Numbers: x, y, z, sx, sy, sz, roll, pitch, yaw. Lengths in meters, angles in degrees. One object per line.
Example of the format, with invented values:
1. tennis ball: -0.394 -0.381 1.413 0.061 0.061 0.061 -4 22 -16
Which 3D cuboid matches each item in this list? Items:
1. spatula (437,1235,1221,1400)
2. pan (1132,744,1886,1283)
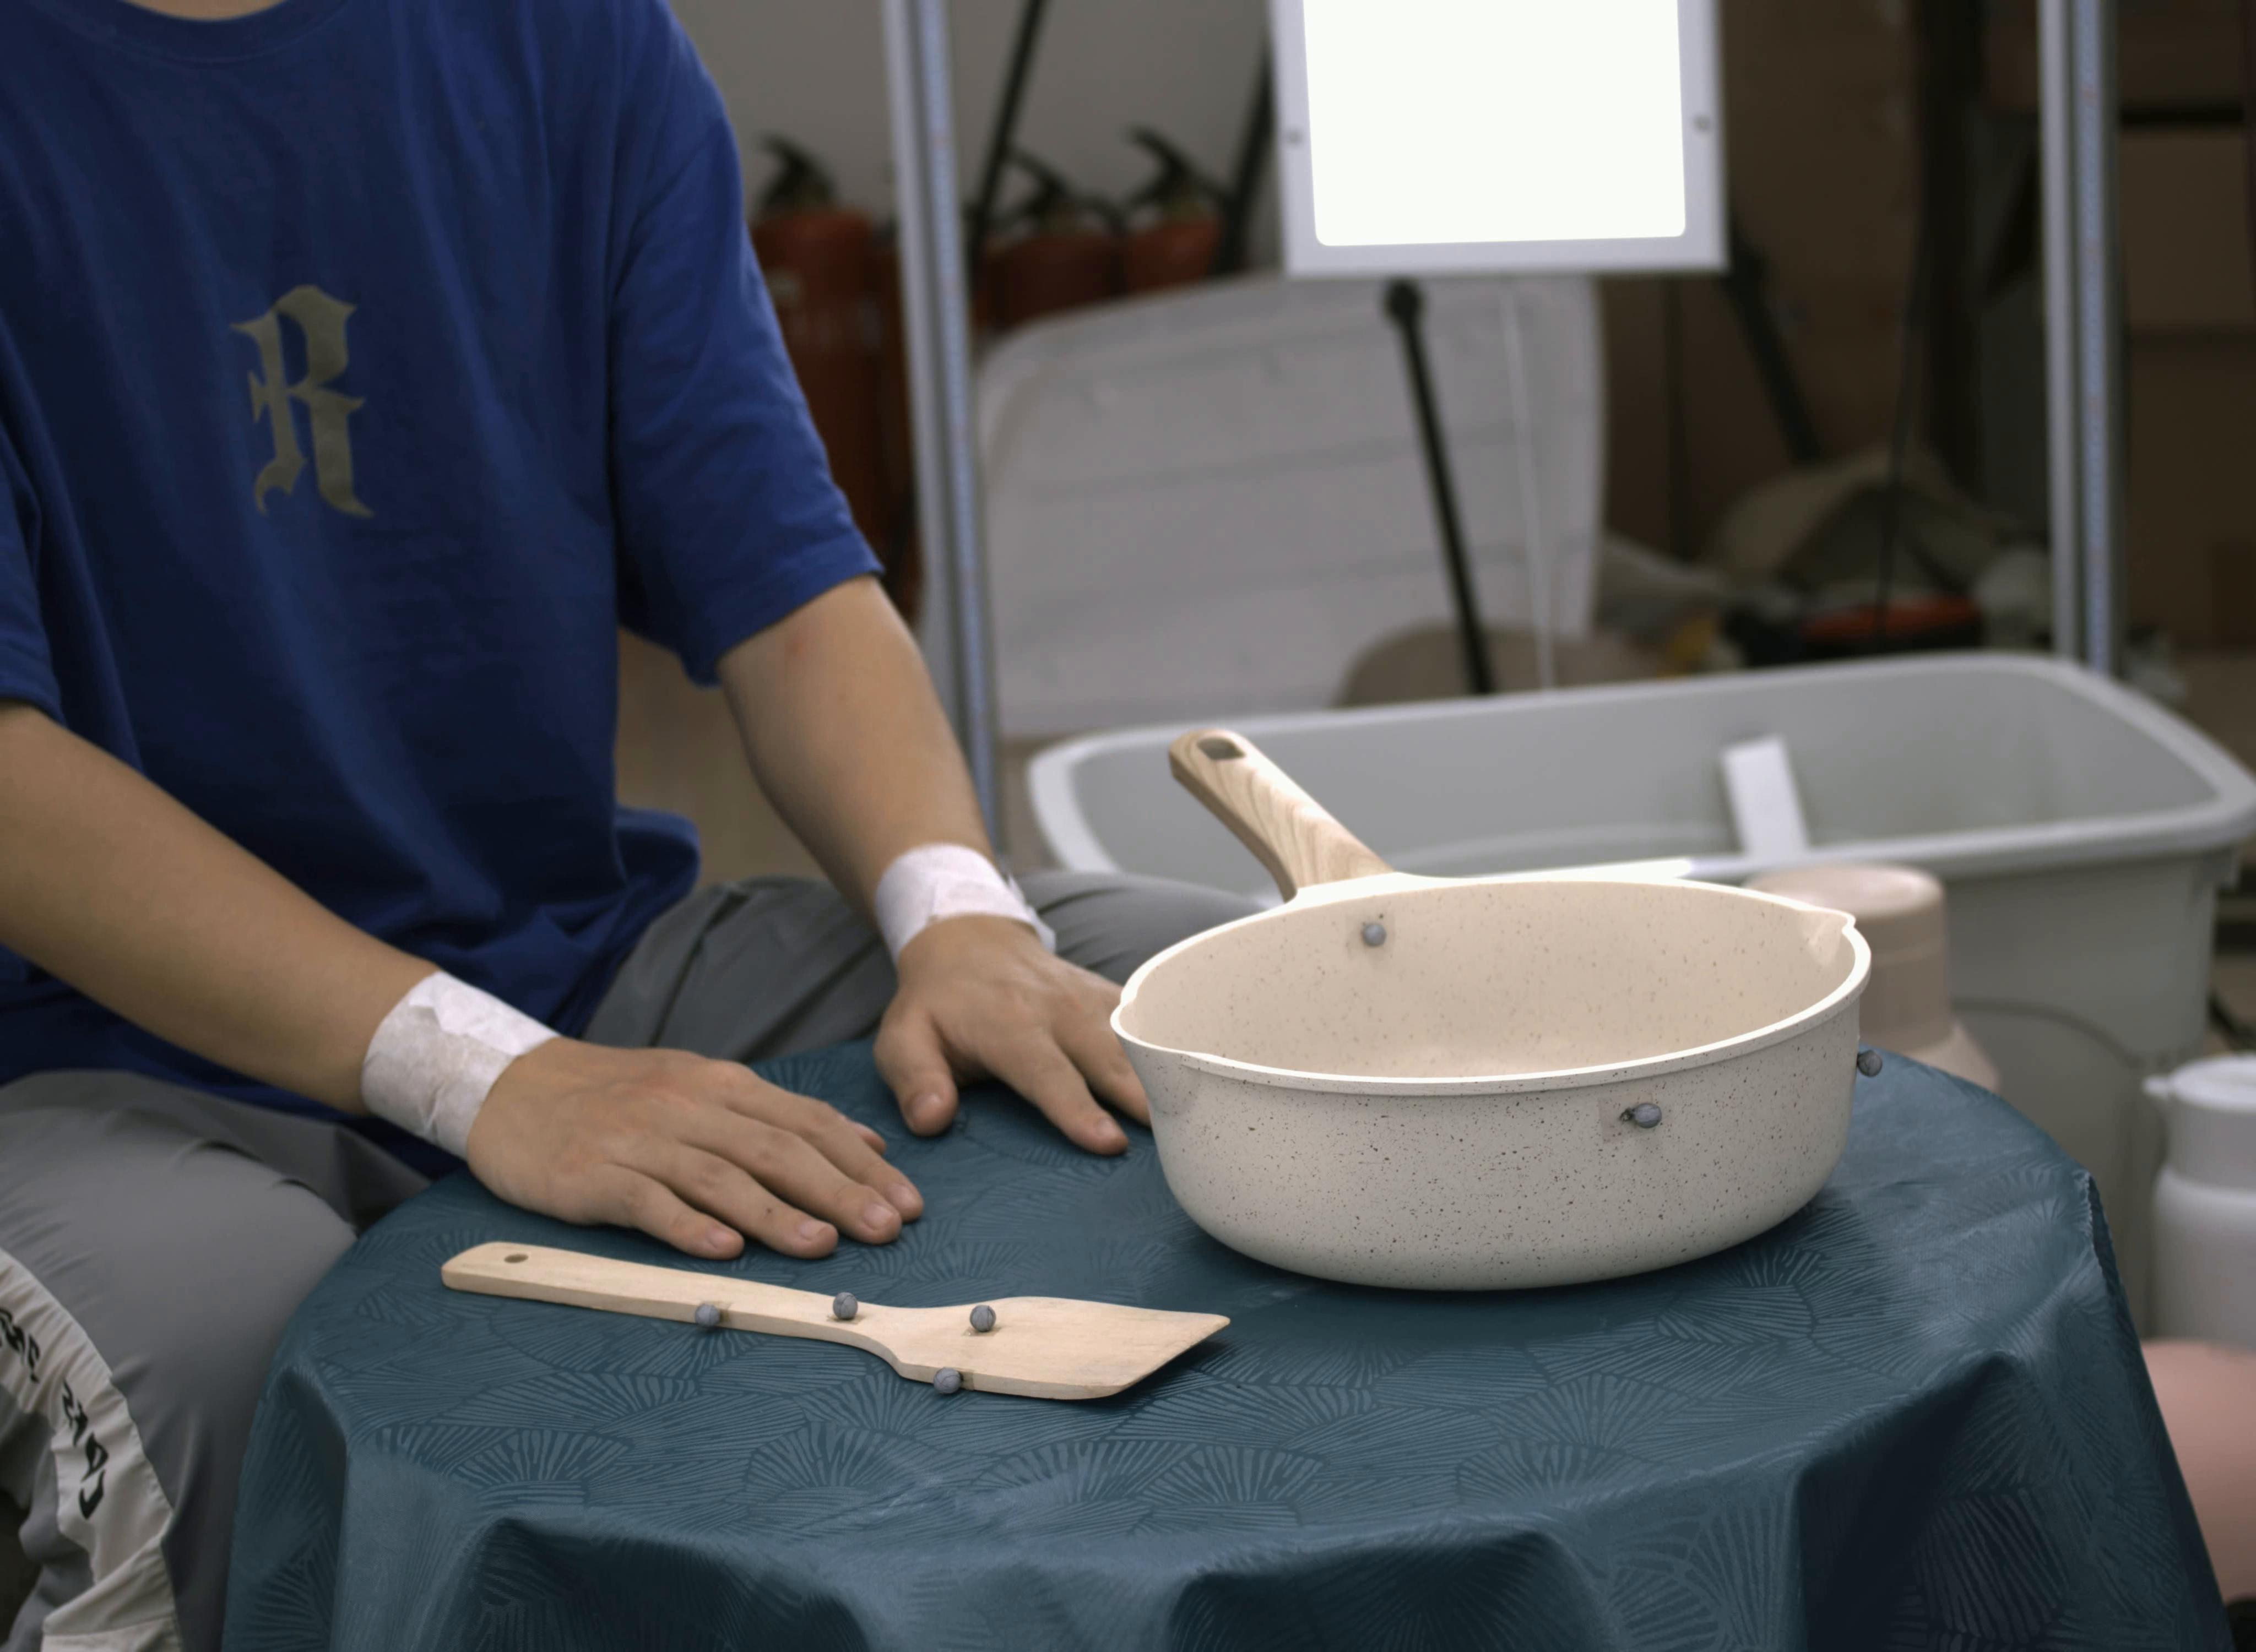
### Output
1. spatula: -0.108 0.157 1.793 0.299 0.011 0.070 5 18 34
2. pan: 0.101 0.059 1.924 0.259 0.102 0.440 -11 15 -16
